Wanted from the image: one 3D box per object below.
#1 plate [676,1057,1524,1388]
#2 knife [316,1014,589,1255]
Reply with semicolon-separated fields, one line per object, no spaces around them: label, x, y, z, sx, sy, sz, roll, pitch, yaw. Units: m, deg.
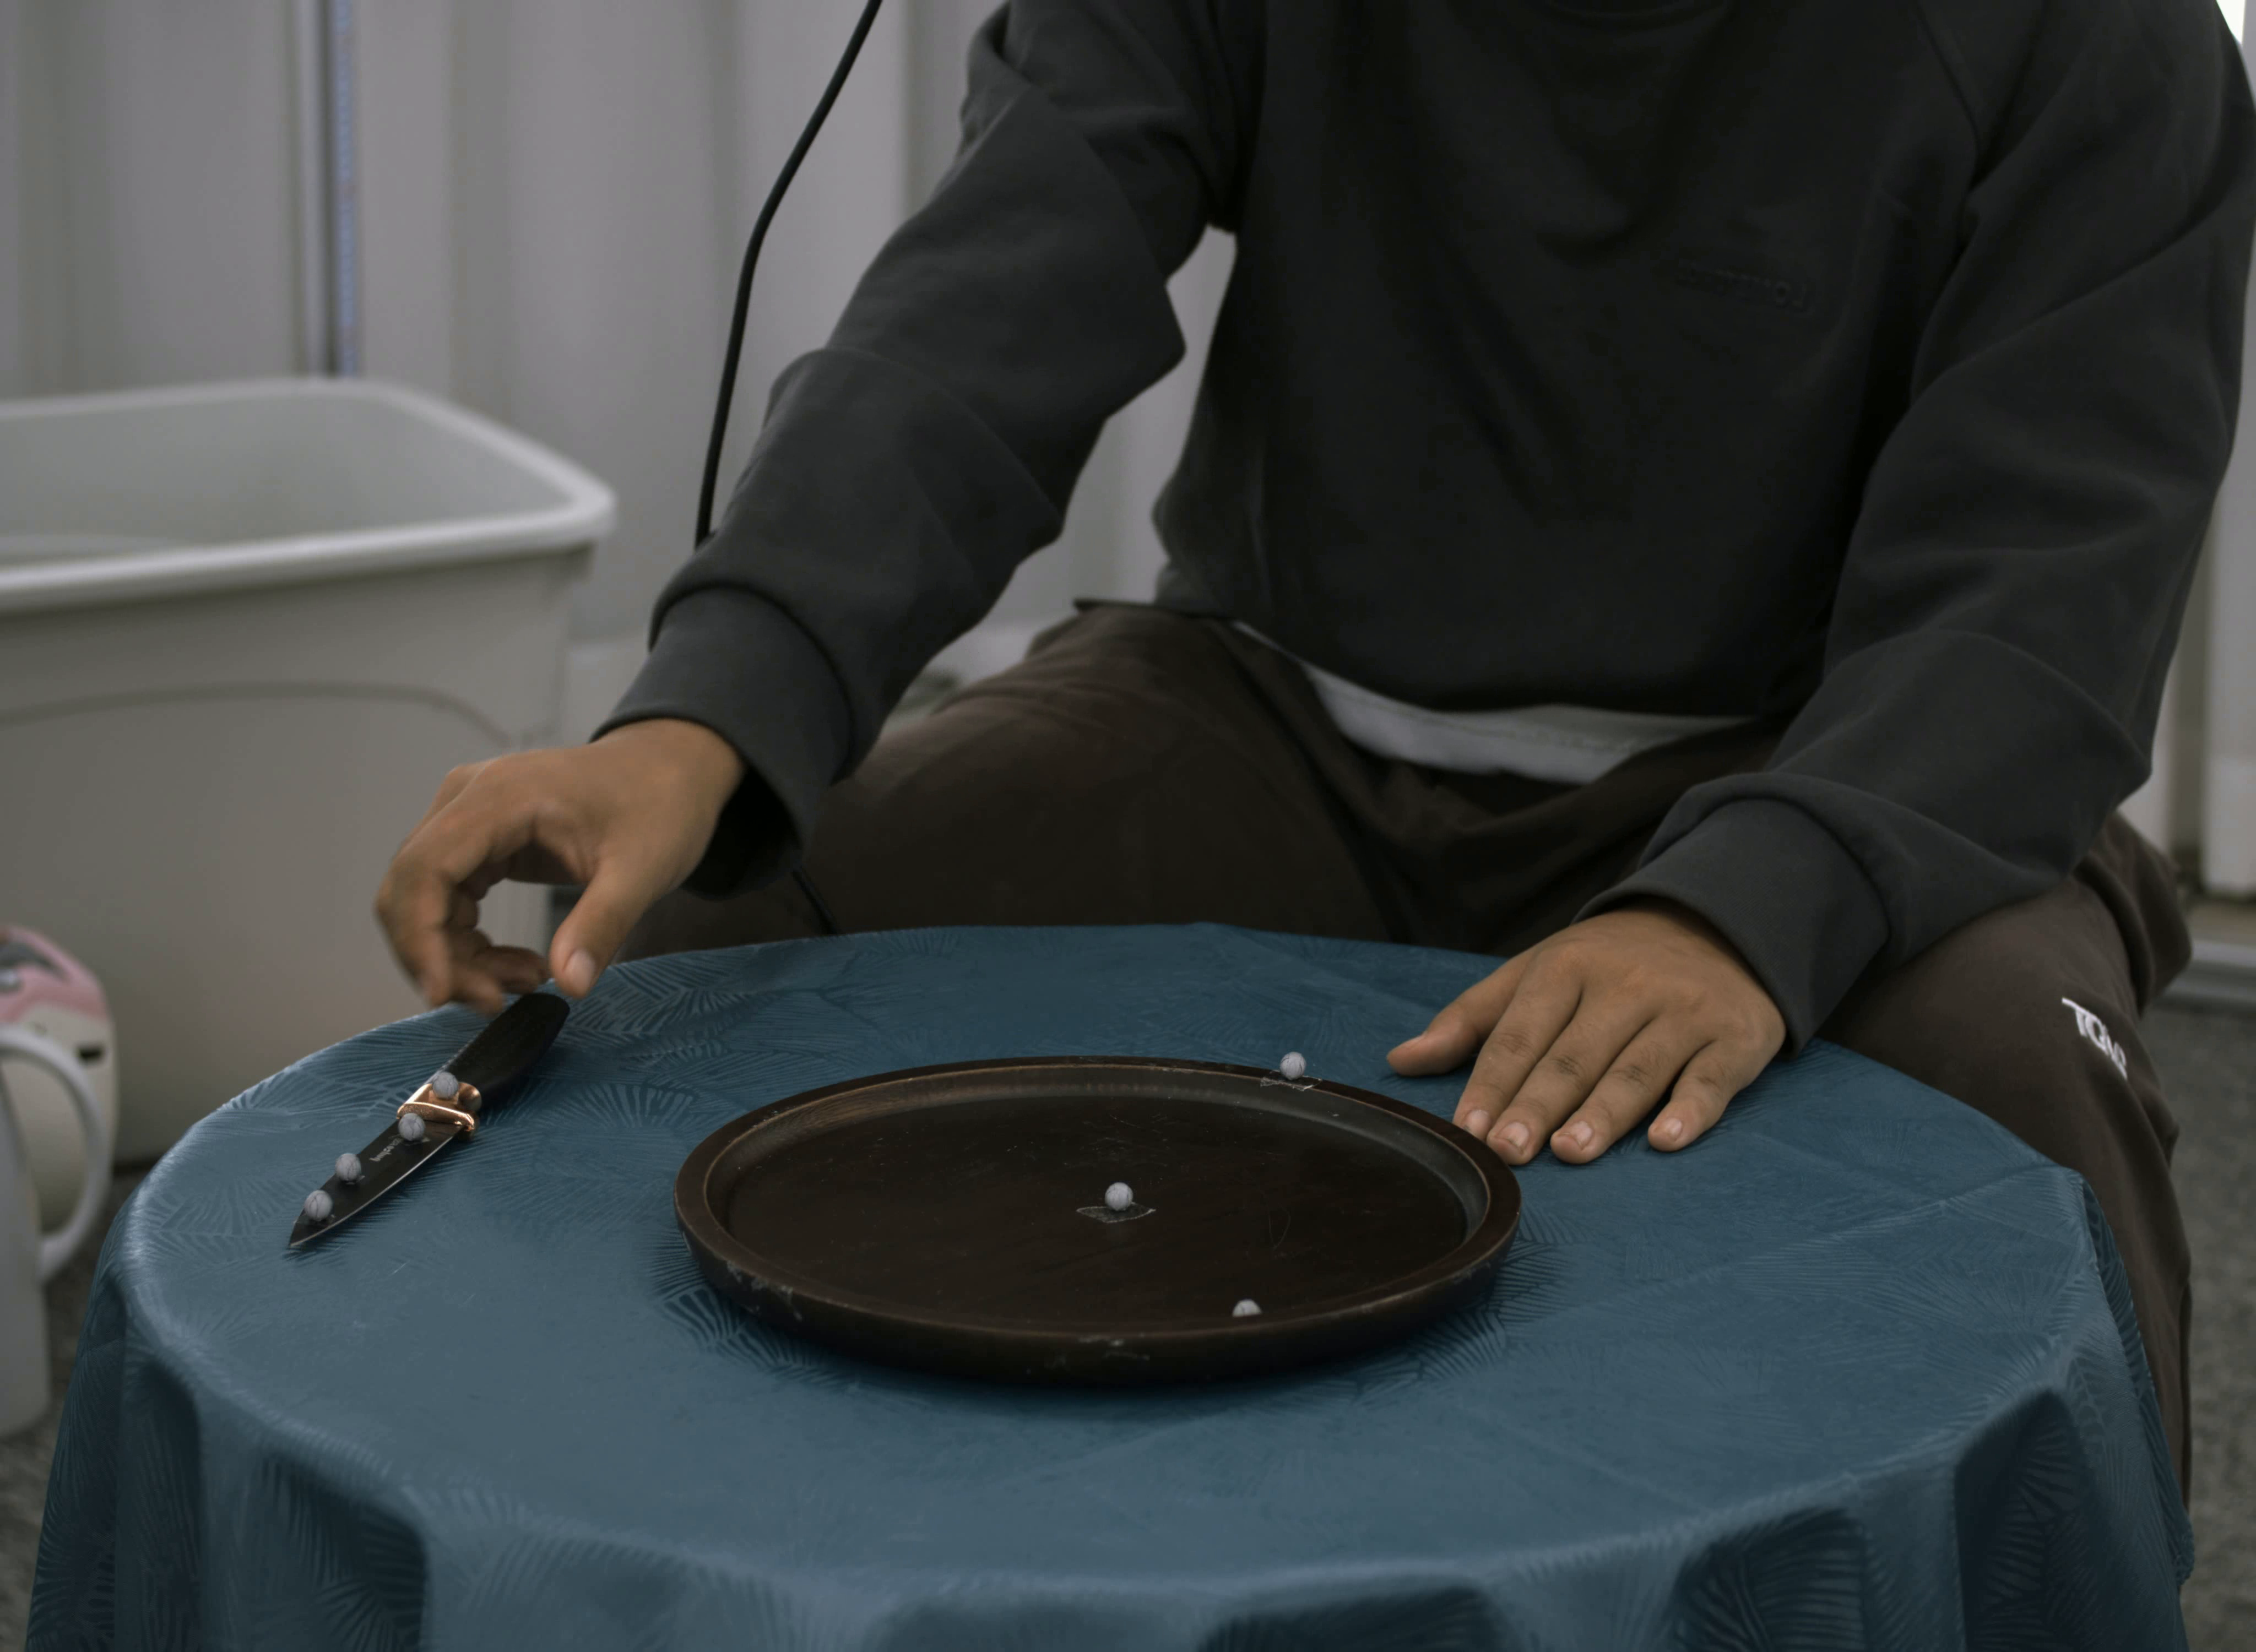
plate;-0.008;0.116;1.571;0.254;0.029;0.253;0;14;0
knife;-0.215;0.096;1.654;0.026;0.017;0.225;8;16;13
